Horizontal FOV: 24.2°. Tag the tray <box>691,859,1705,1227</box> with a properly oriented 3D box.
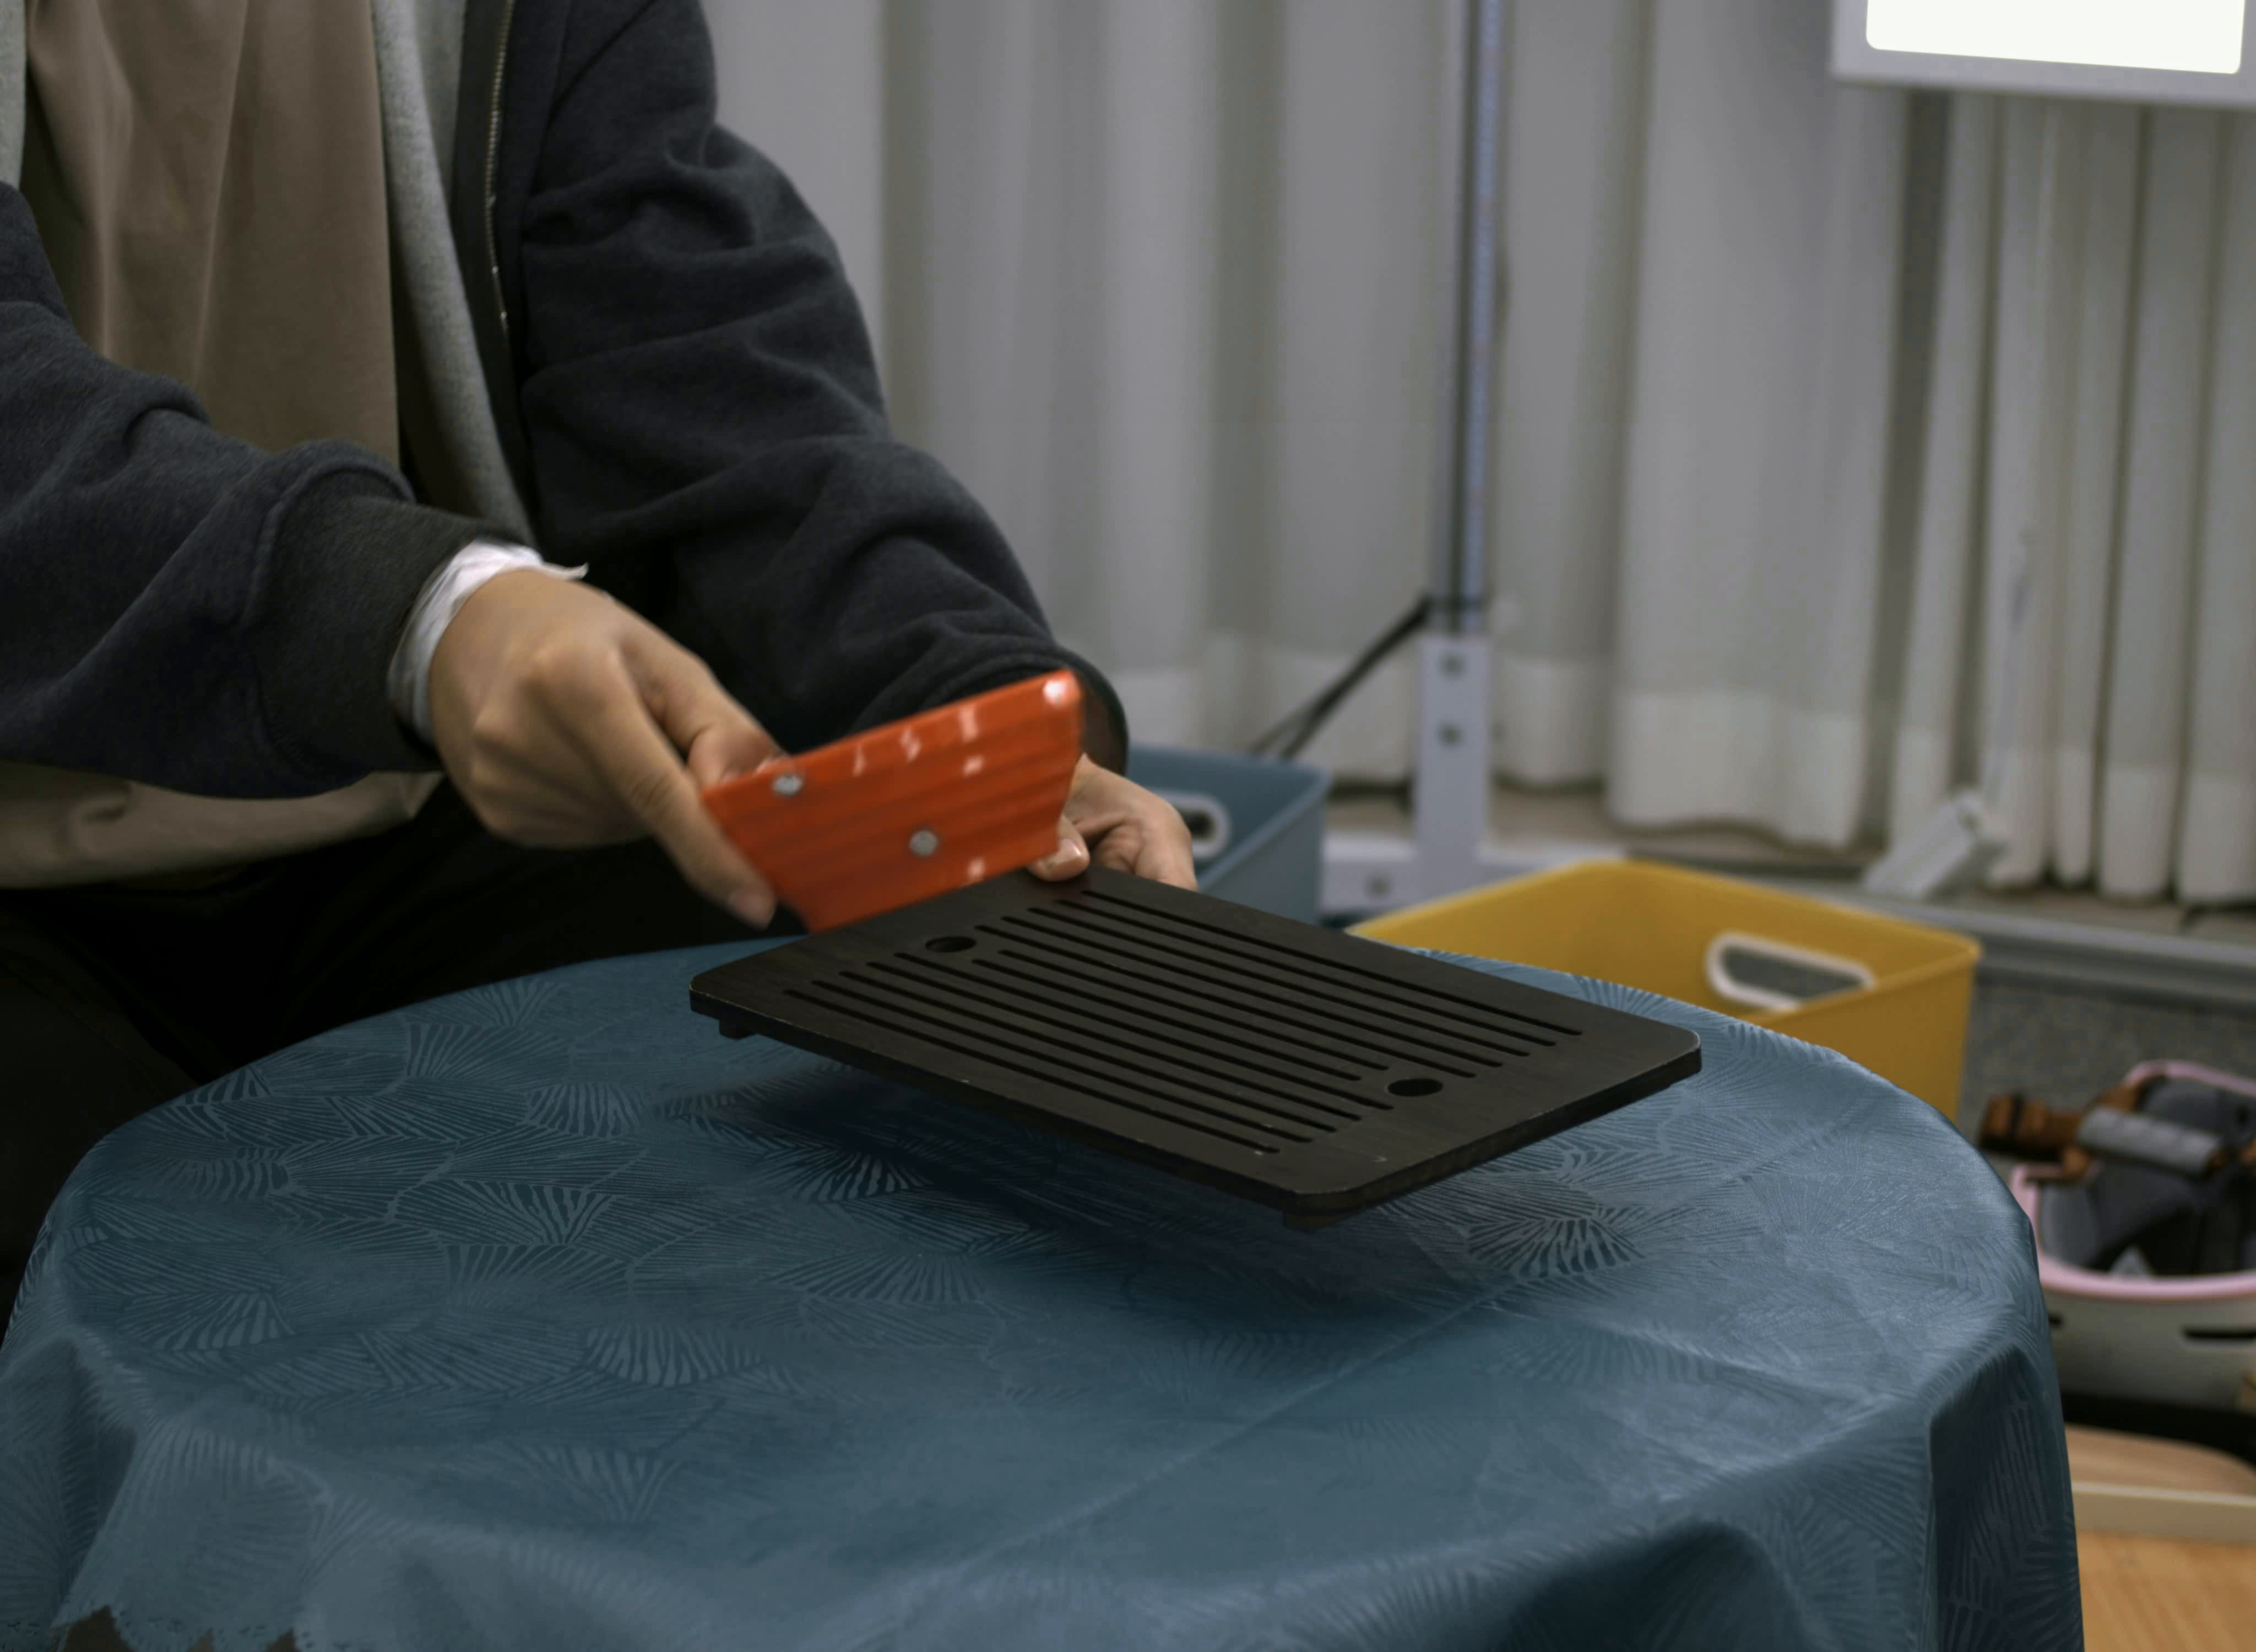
[{"bbox_3d":[0.017,0.064,1.647,0.171,0.019,0.302,-18,22,-39],"label":"tray"}]

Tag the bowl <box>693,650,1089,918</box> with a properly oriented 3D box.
[{"bbox_3d":[-0.062,-0.009,1.520,0.118,0.051,0.119,-18,-1,1],"label":"bowl"}]
